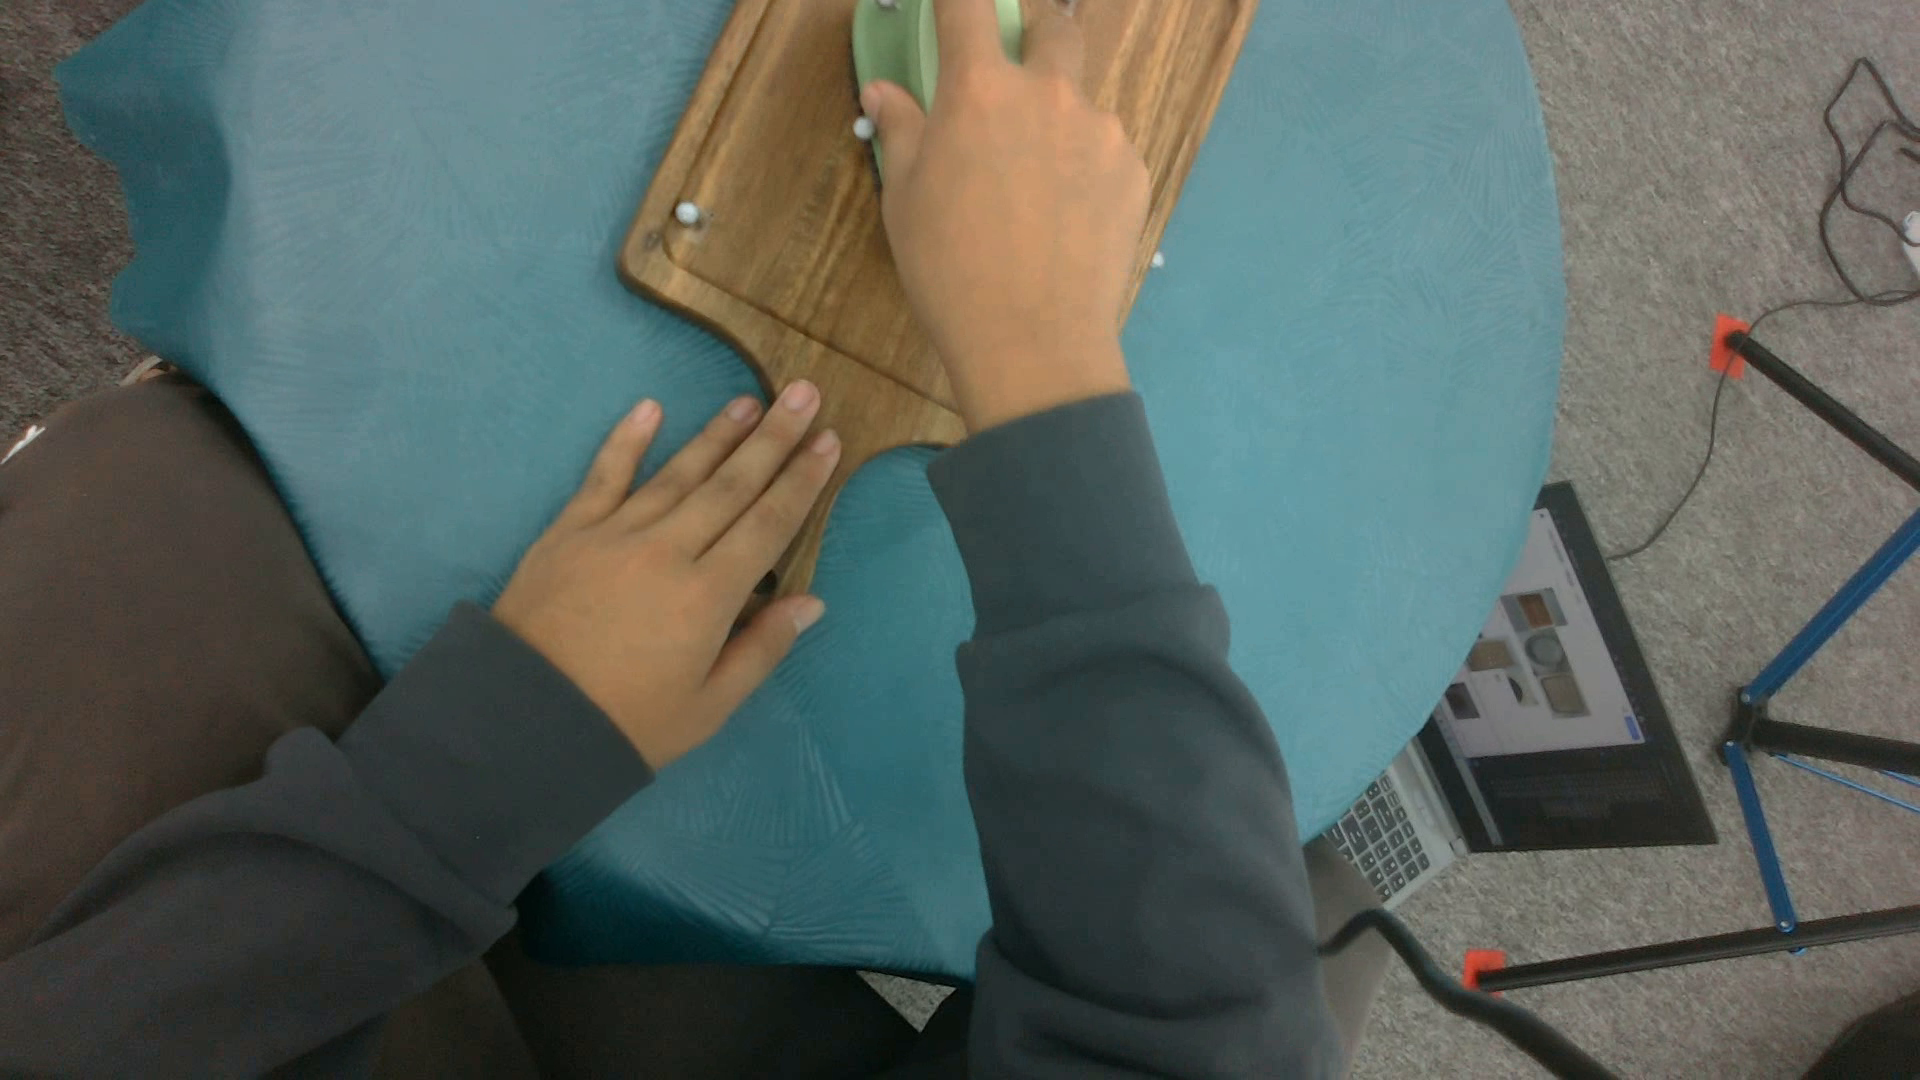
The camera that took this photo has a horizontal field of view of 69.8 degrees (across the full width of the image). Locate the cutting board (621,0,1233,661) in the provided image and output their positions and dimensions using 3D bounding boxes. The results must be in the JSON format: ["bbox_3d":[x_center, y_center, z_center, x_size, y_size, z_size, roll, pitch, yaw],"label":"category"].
[{"bbox_3d":[-0.021,-0.117,0.571,0.201,0.023,0.352,24,81,-19],"label":"cutting board"}]

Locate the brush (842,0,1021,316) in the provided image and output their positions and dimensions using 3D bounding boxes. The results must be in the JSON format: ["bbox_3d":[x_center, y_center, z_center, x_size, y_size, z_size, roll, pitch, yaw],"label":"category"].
[{"bbox_3d":[-0.011,-0.151,0.543,0.060,0.076,0.122,-14,111,-18],"label":"brush"}]
